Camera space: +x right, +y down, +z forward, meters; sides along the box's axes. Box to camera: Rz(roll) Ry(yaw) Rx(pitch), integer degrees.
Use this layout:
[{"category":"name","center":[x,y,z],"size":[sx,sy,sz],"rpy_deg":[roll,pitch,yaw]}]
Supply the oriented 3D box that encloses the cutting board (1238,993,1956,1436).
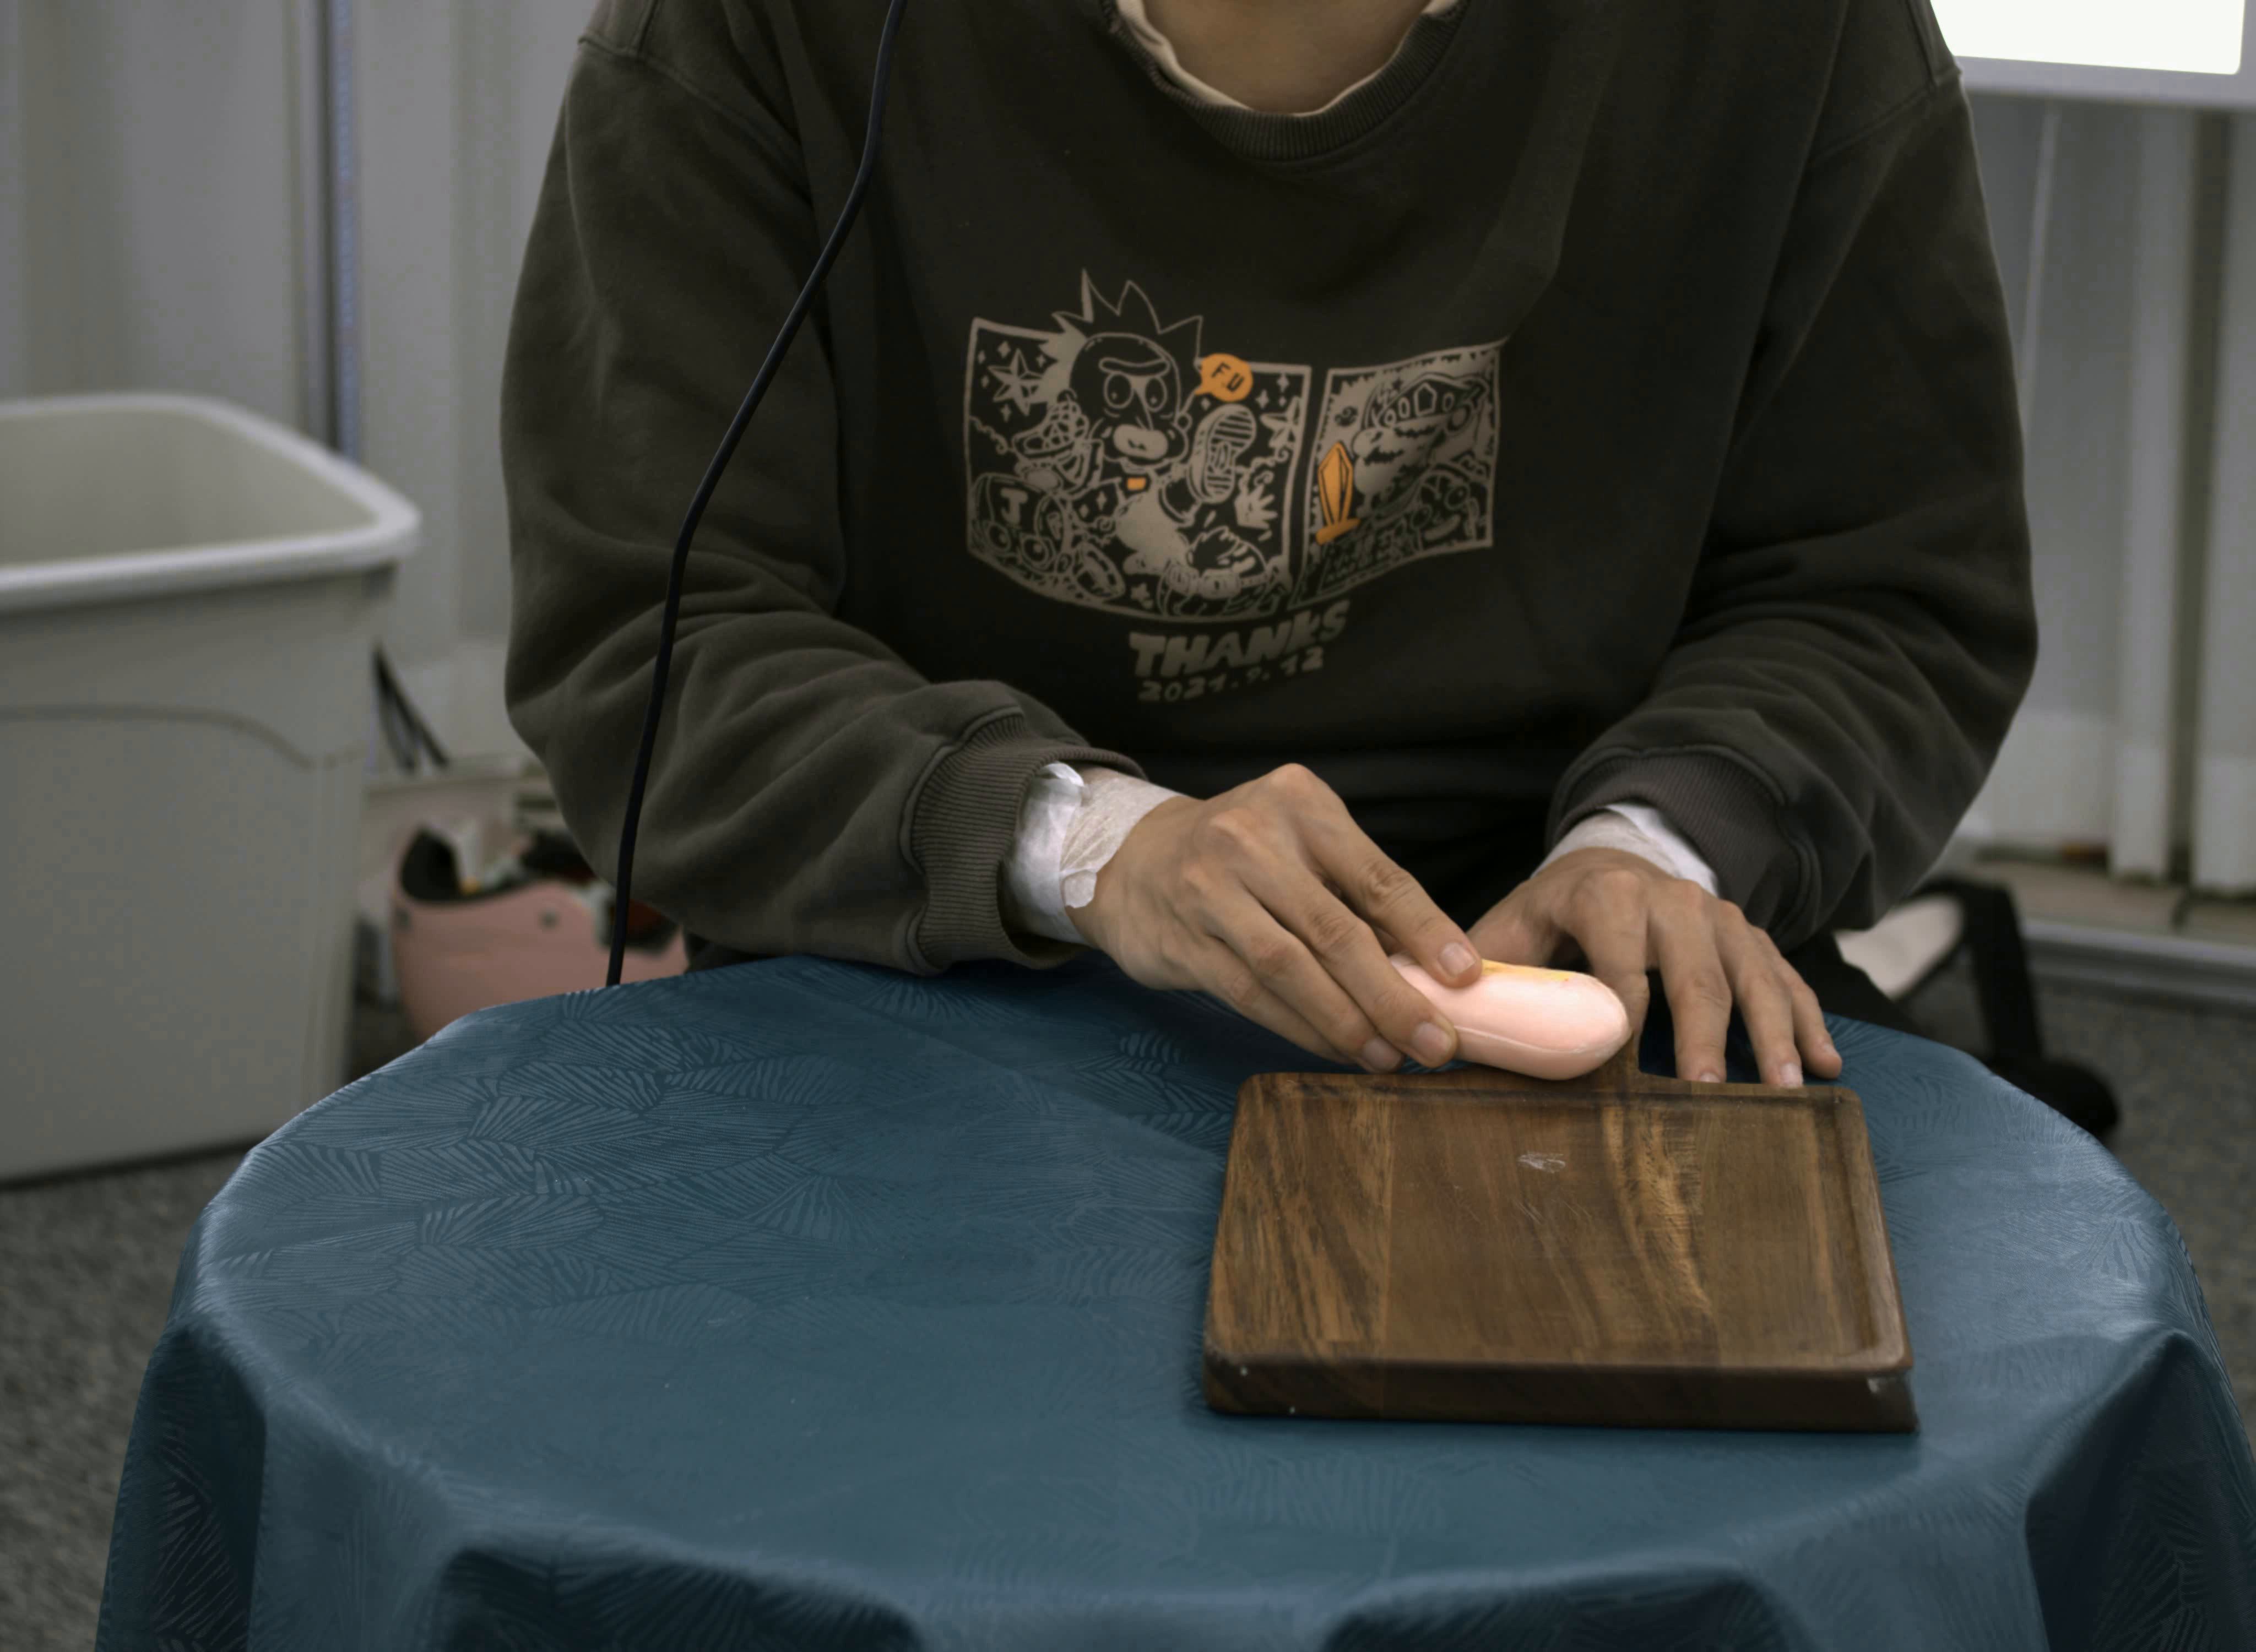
[{"category":"cutting board","center":[0.140,0.110,1.605],"size":[0.200,0.023,0.351],"rpy_deg":[2,15,4]}]

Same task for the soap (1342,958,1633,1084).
[{"category":"soap","center":[0.115,0.062,1.694],"size":[0.093,0.030,0.050],"rpy_deg":[7,16,31]}]
